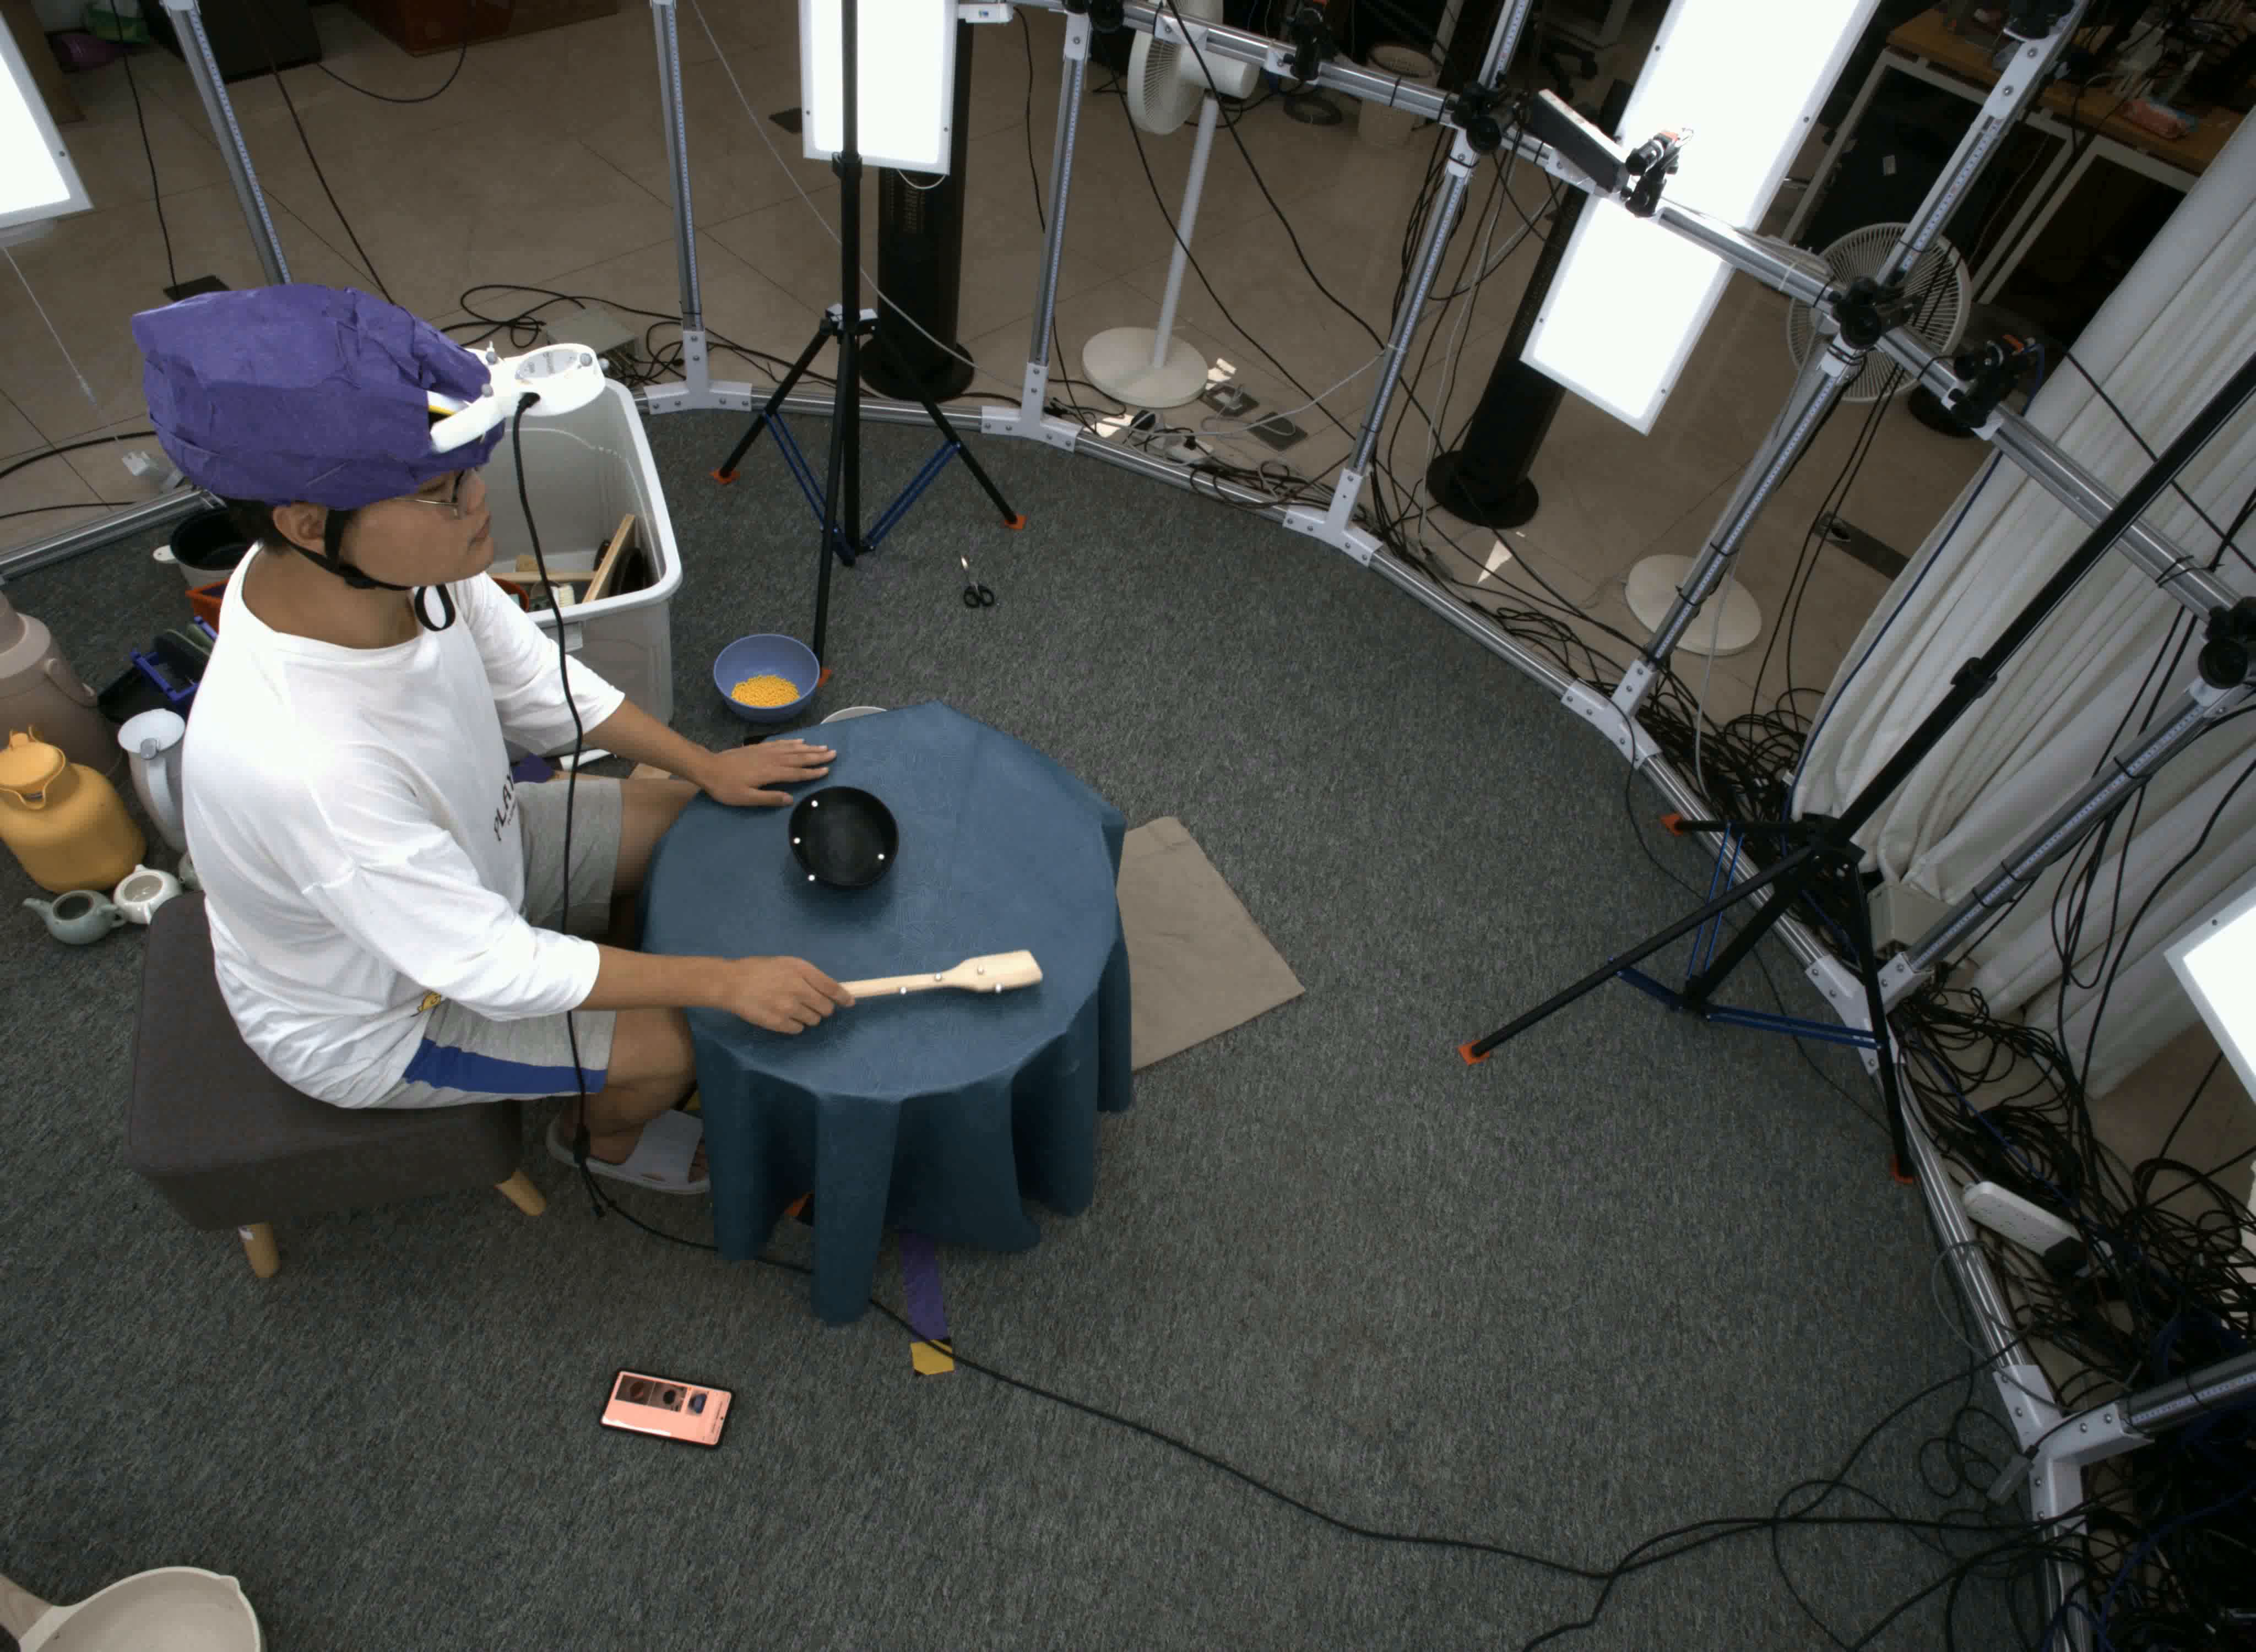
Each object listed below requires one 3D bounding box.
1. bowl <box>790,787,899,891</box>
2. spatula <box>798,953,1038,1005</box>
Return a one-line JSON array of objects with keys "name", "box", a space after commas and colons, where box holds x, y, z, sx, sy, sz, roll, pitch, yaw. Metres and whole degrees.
[{"name": "bowl", "box": [-0.368, 0.024, 1.689, 0.138, 0.068, 0.166, -14, 56, -21]}, {"name": "spatula", "box": [-0.257, 0.192, 1.600, 0.295, 0.011, 0.070, -5, 32, -22]}]
